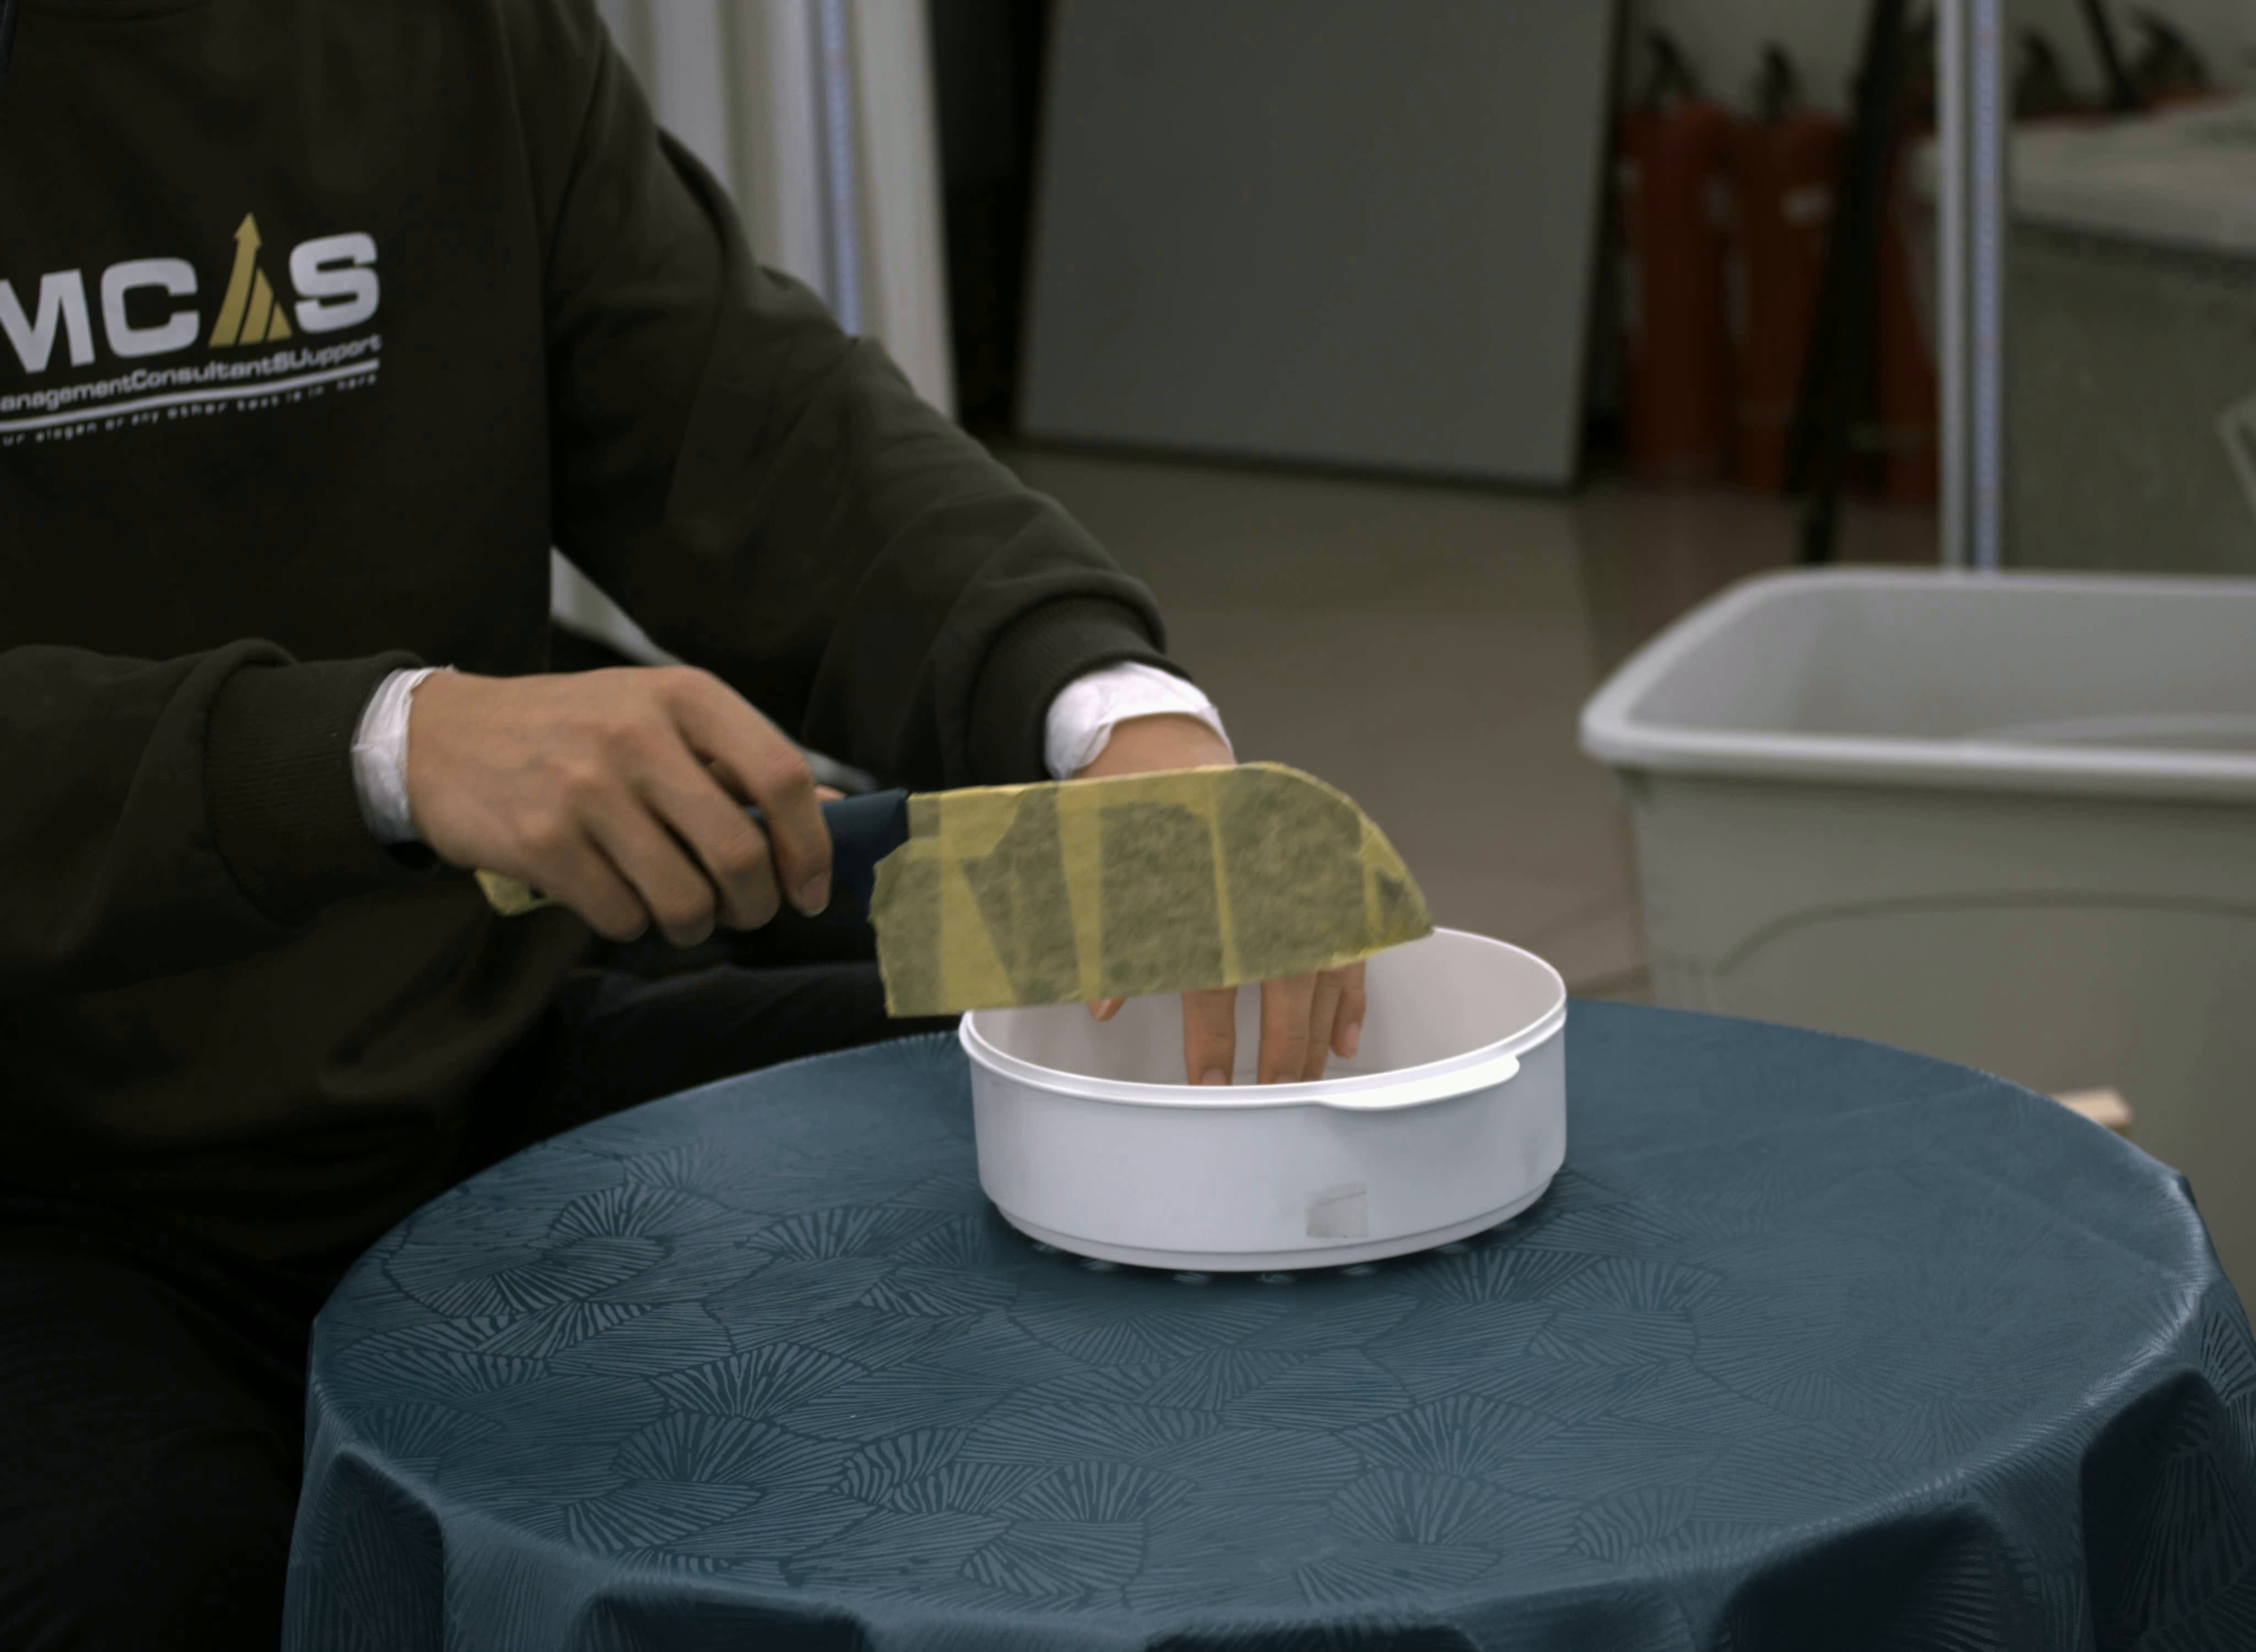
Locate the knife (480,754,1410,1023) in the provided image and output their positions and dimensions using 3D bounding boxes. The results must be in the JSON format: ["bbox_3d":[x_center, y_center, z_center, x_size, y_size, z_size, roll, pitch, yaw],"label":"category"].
[{"bbox_3d":[-0.056,0.021,1.656,0.286,0.082,0.027,-2,14,5],"label":"knife"}]

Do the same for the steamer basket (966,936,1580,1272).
[{"bbox_3d":[0.049,0.090,1.748,0.197,0.070,0.233,-10,13,-26],"label":"steamer basket"}]
